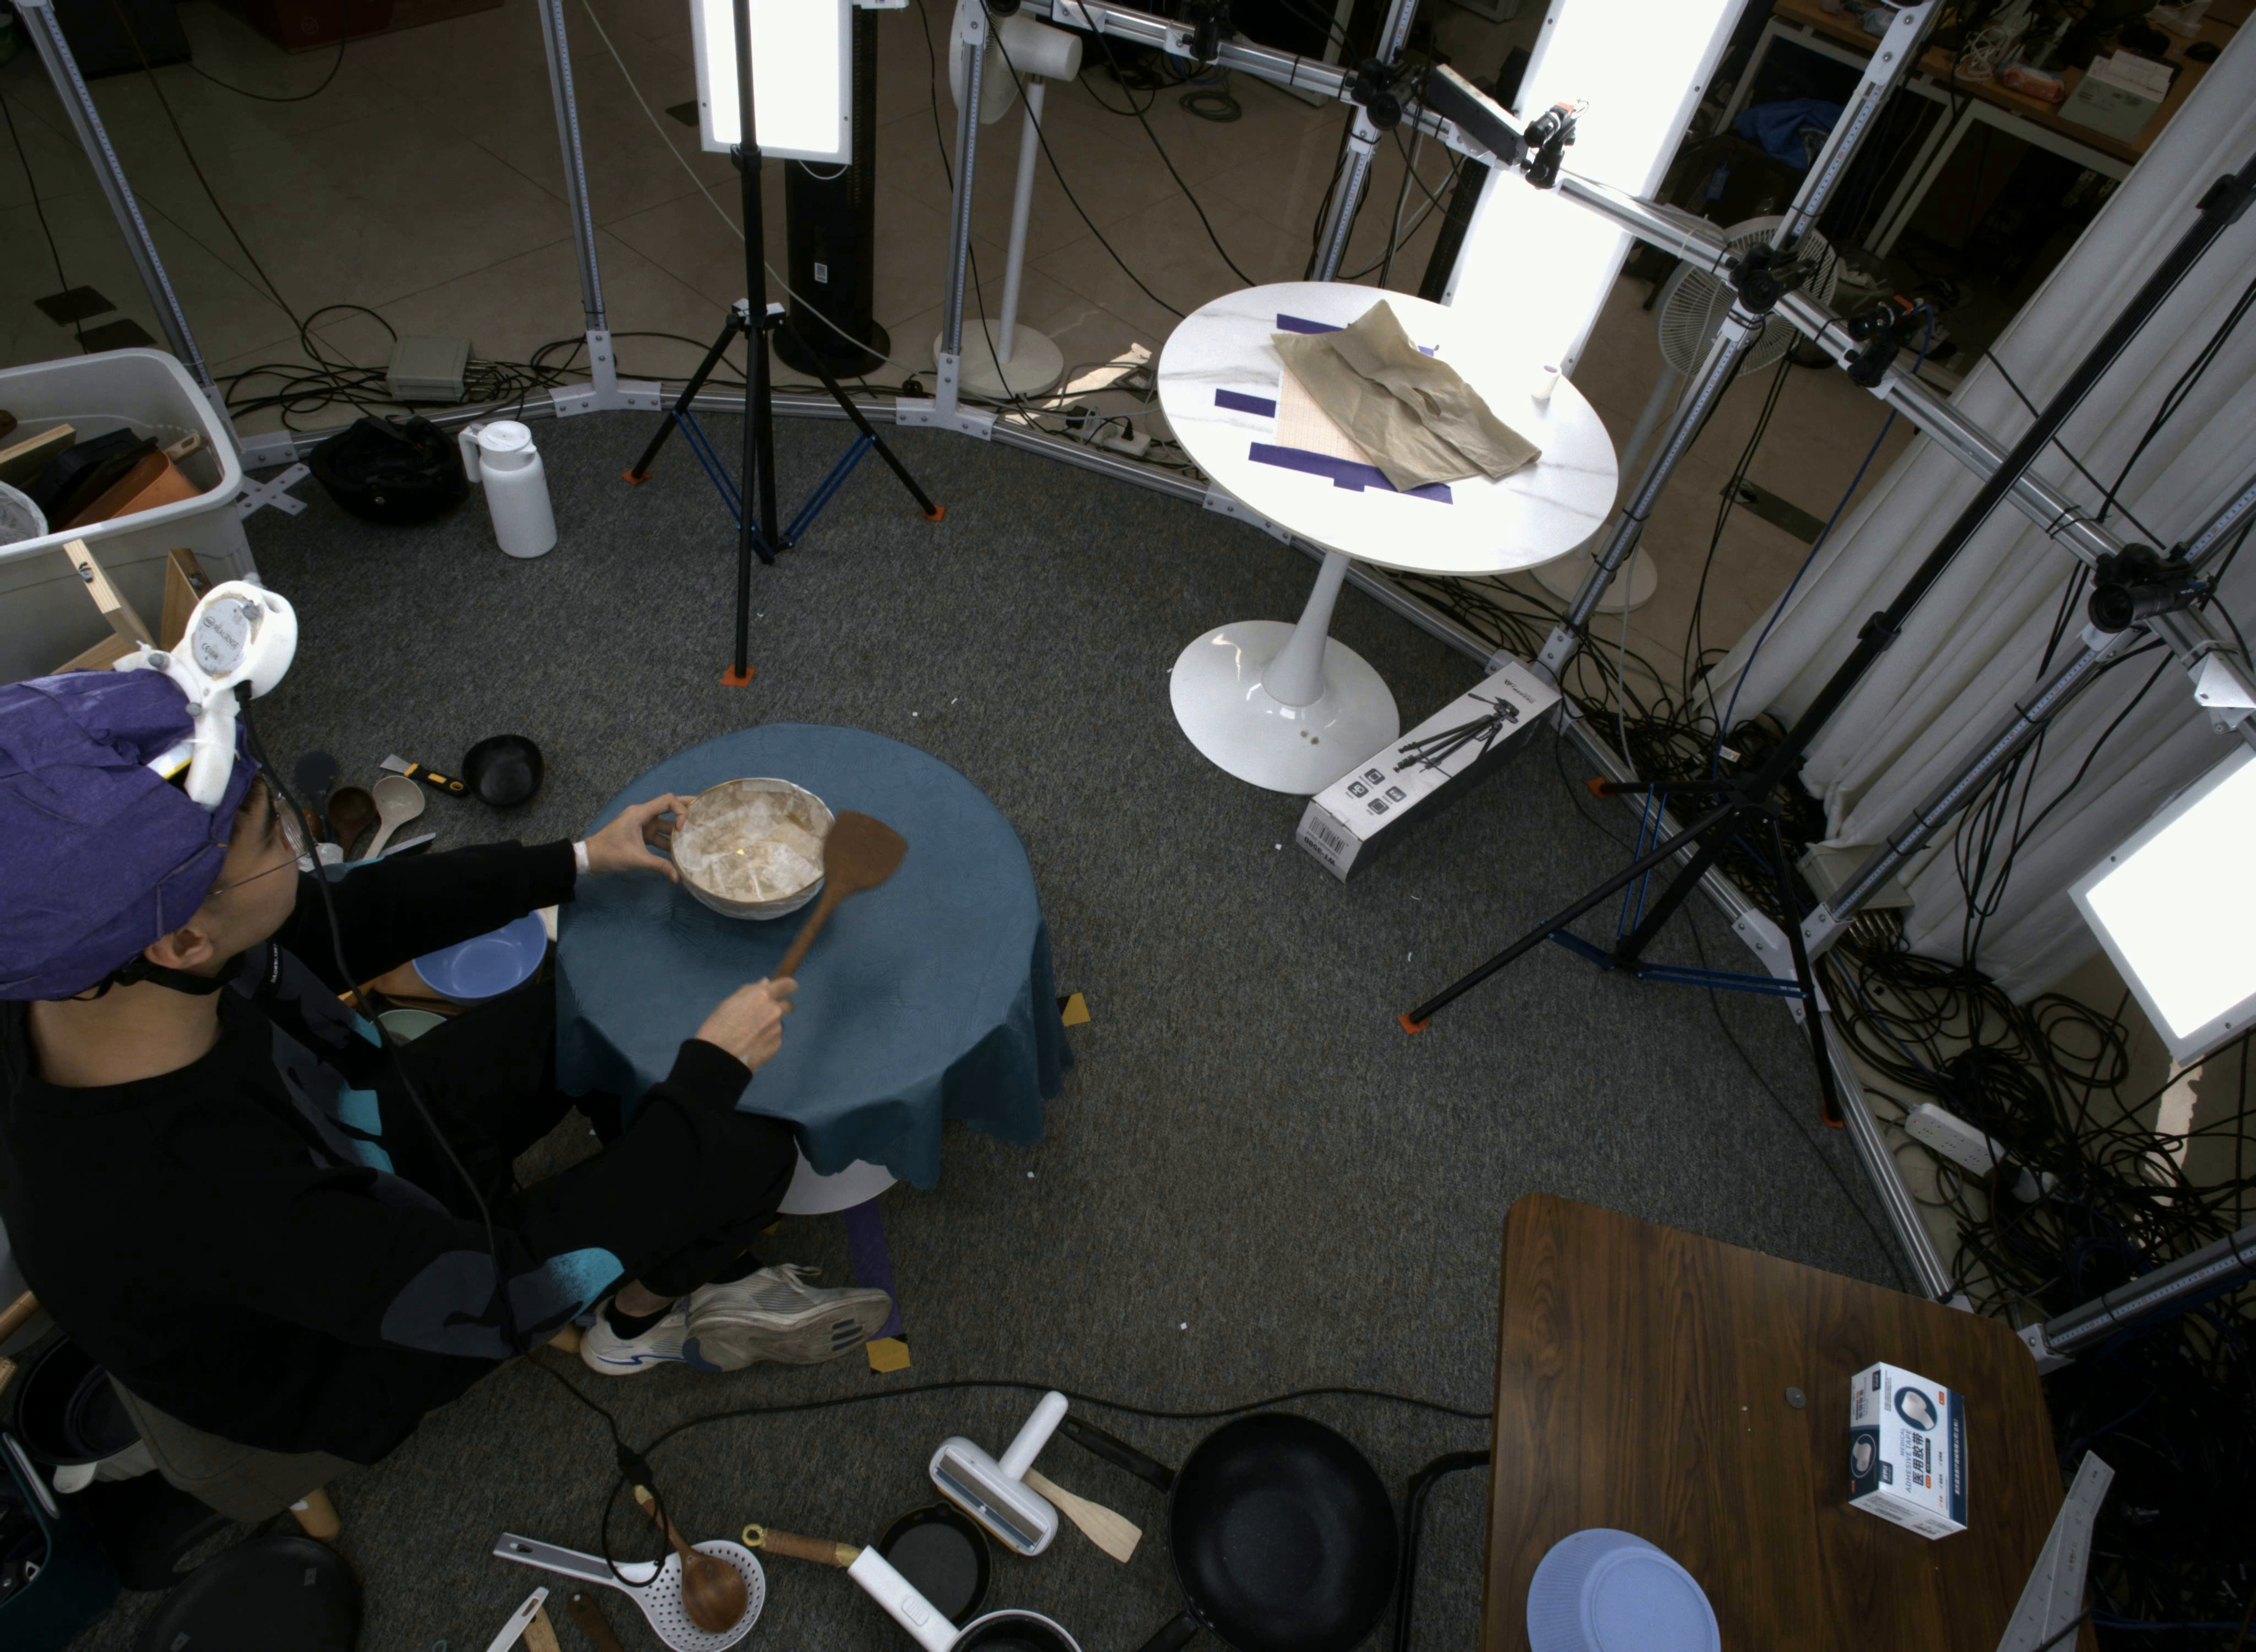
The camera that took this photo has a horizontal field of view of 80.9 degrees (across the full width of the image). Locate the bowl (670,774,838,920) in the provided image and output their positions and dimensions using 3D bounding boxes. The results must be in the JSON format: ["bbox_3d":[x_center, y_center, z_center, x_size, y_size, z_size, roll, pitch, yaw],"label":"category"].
[{"bbox_3d":[-0.468,0.041,1.620,0.214,0.096,0.211,9,51,-9],"label":"bowl"}]

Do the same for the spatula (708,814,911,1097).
[{"bbox_3d":[-0.361,0.136,1.445,0.096,0.016,0.383,30,52,-5],"label":"spatula"}]
